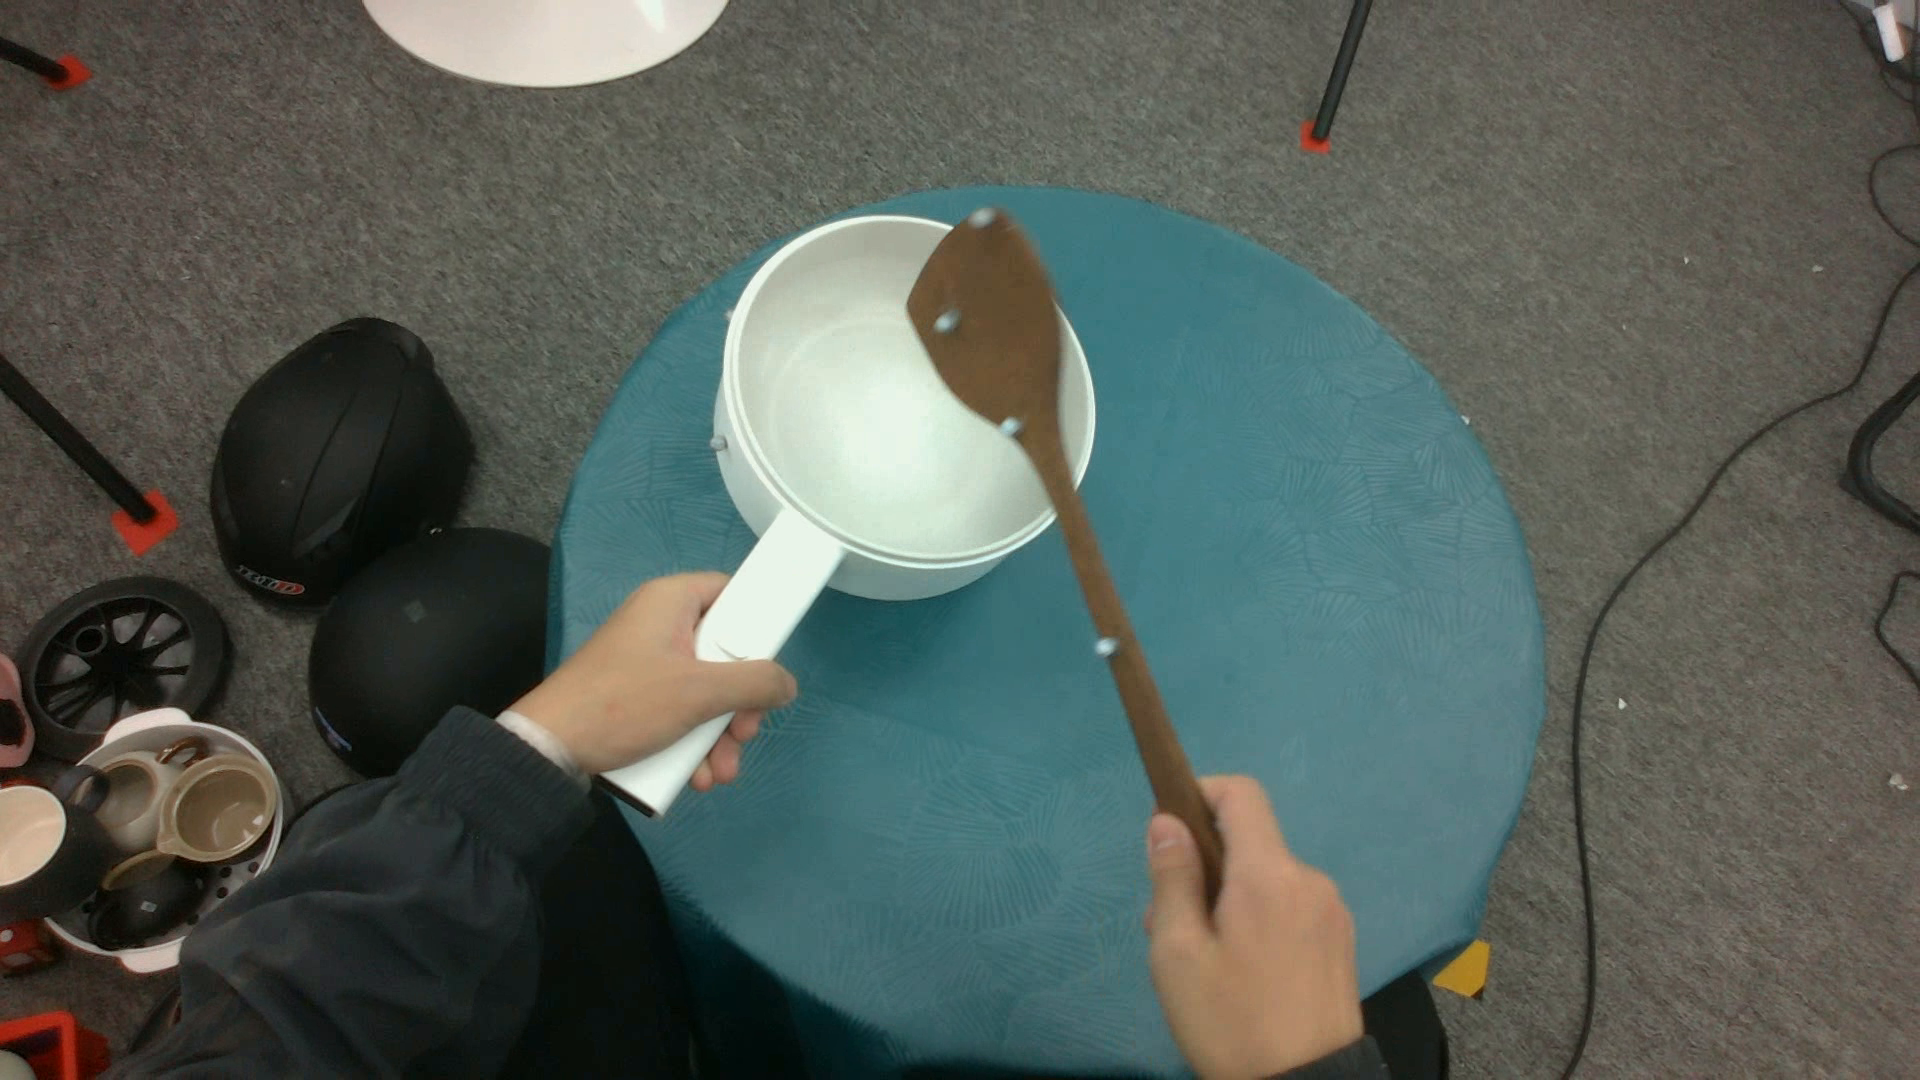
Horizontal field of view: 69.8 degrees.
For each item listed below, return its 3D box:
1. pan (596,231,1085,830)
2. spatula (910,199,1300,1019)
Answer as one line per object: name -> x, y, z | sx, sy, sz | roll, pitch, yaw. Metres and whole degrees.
pan -> -0.075, -0.002, 0.741 | 0.201, 0.101, 0.356 | 32, 65, -3
spatula -> 0.068, 0.025, 0.620 | 0.016, 0.095, 0.386 | -7, 70, -45
